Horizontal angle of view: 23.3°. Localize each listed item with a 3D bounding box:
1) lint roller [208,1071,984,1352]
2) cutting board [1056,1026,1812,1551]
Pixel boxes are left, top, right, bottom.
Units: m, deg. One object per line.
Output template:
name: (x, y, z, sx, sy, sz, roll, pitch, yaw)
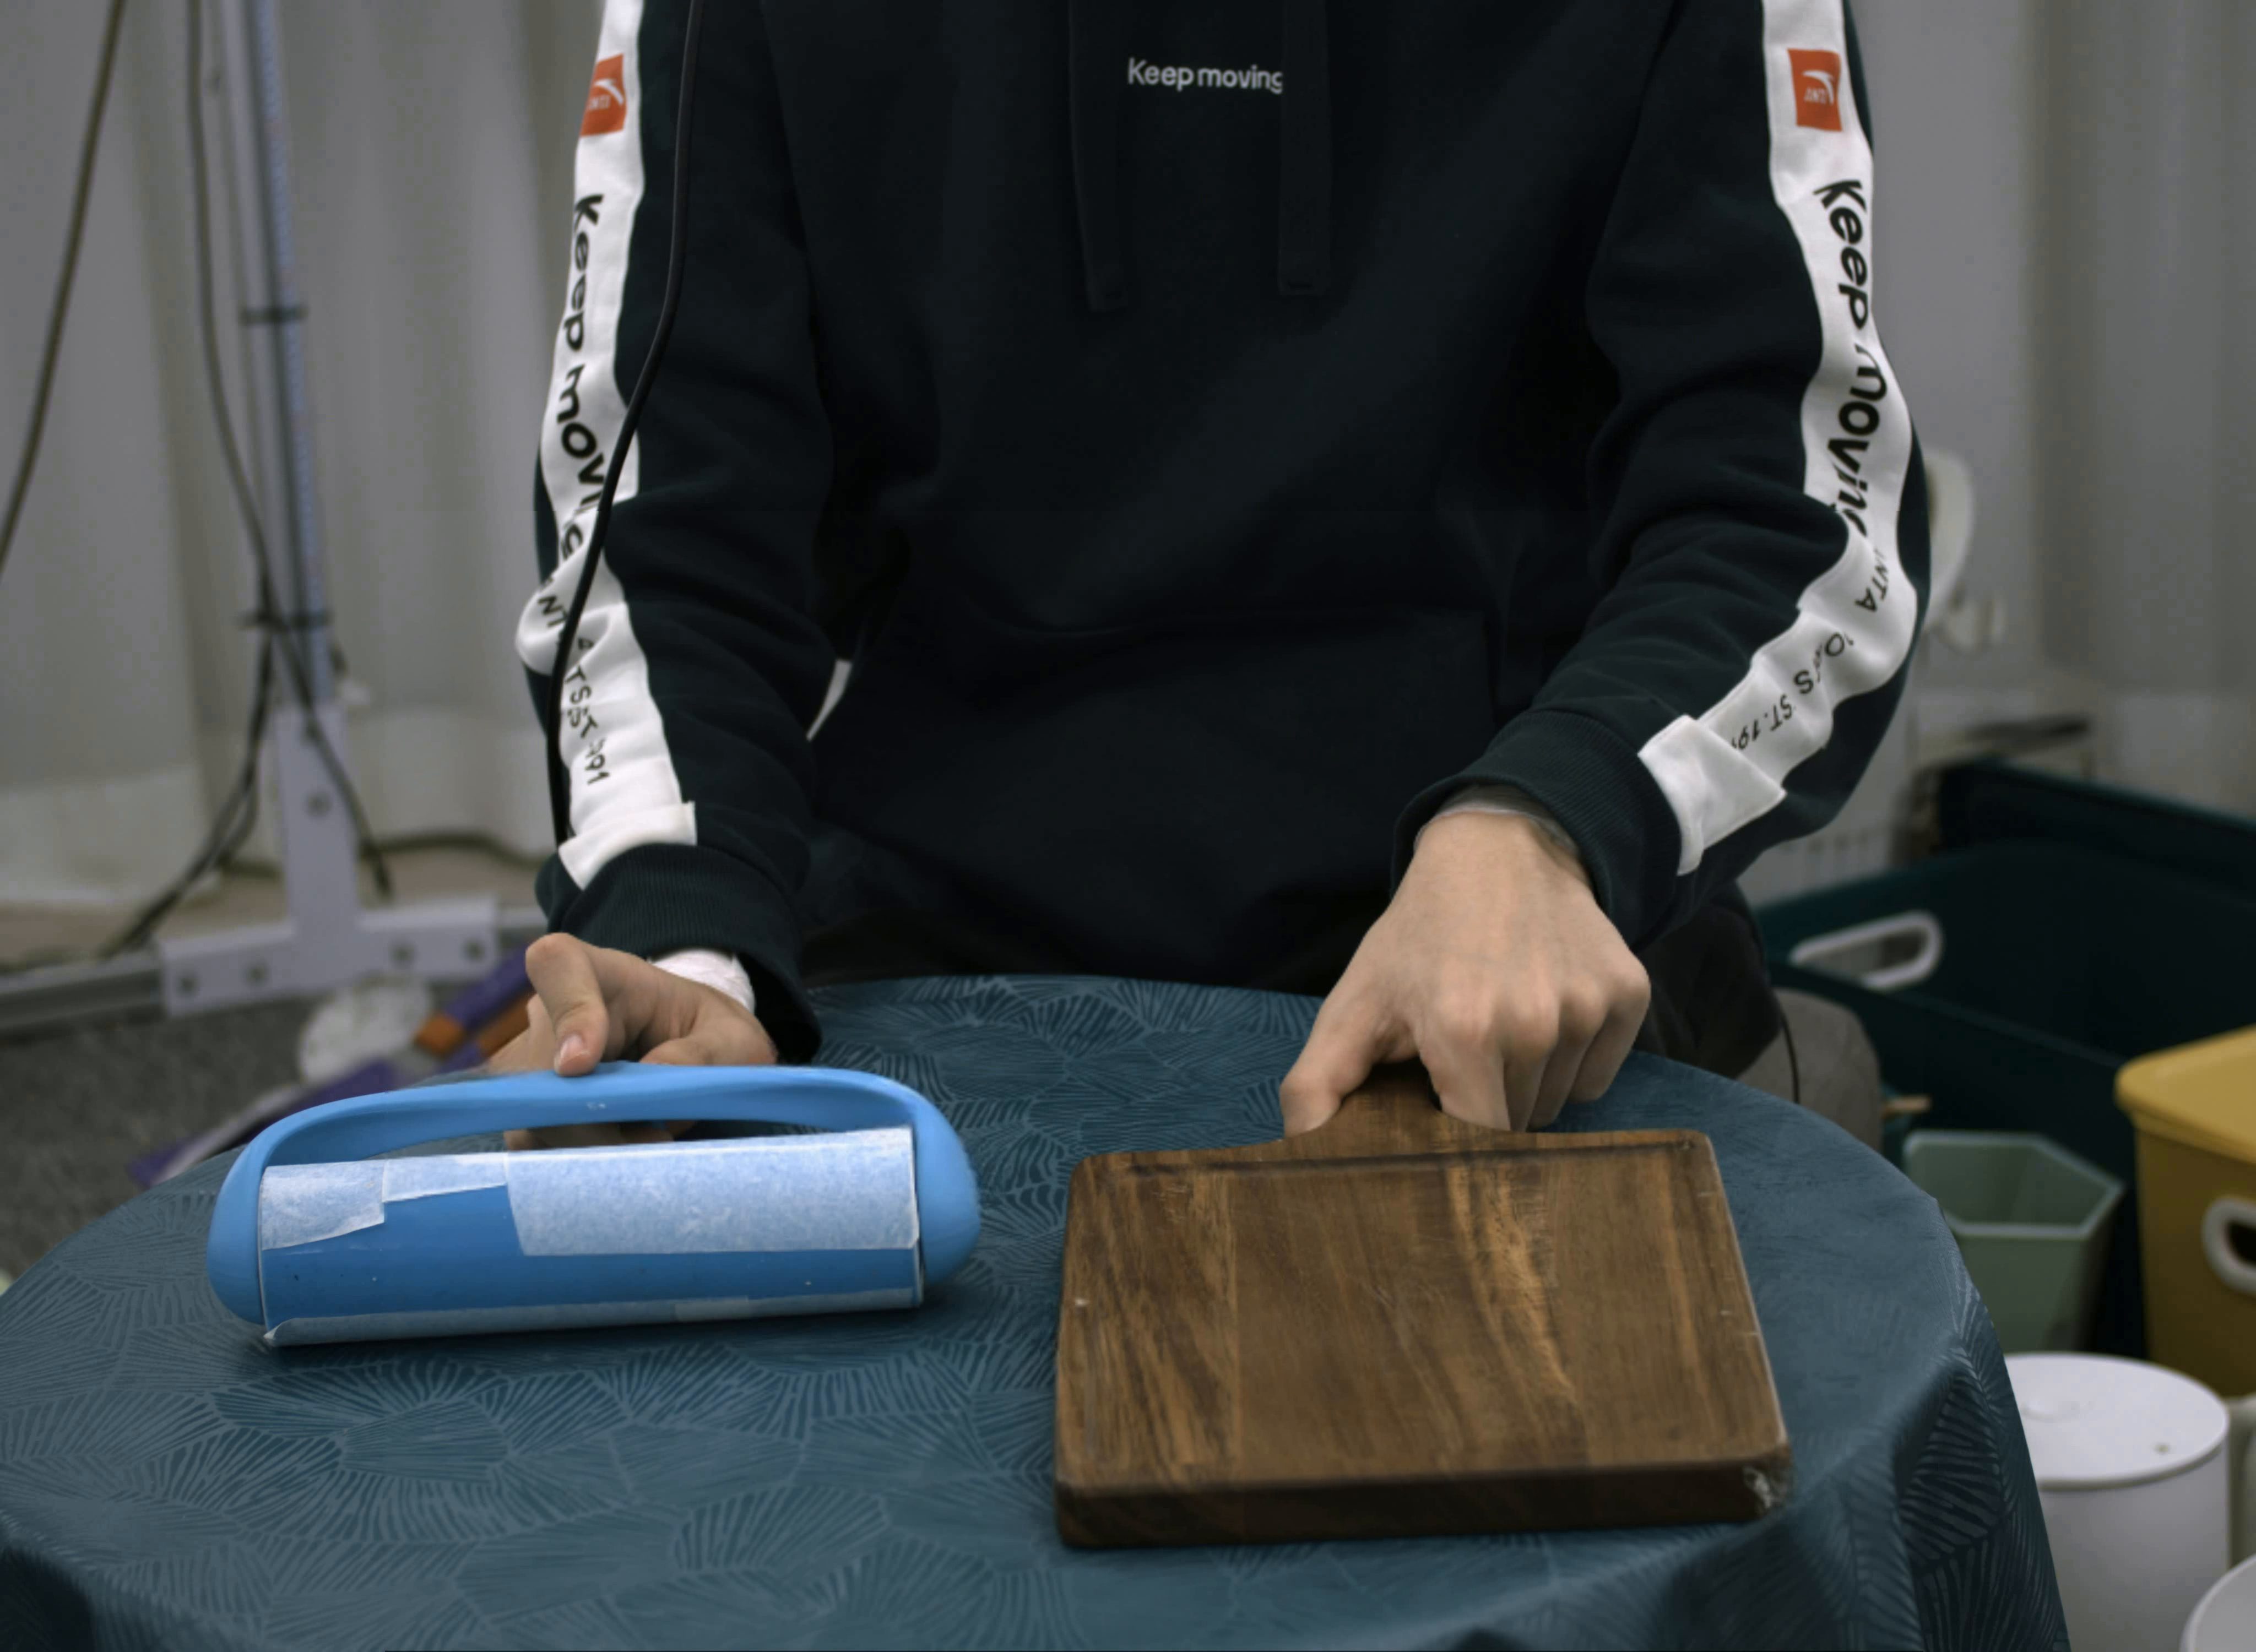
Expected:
lint roller: (-0.162, 0.106, 1.671, 0.228, 0.067, 0.181, -5, 15, -4)
cutting board: (0.079, 0.126, 1.592, 0.200, 0.023, 0.355, -2, 17, 1)
